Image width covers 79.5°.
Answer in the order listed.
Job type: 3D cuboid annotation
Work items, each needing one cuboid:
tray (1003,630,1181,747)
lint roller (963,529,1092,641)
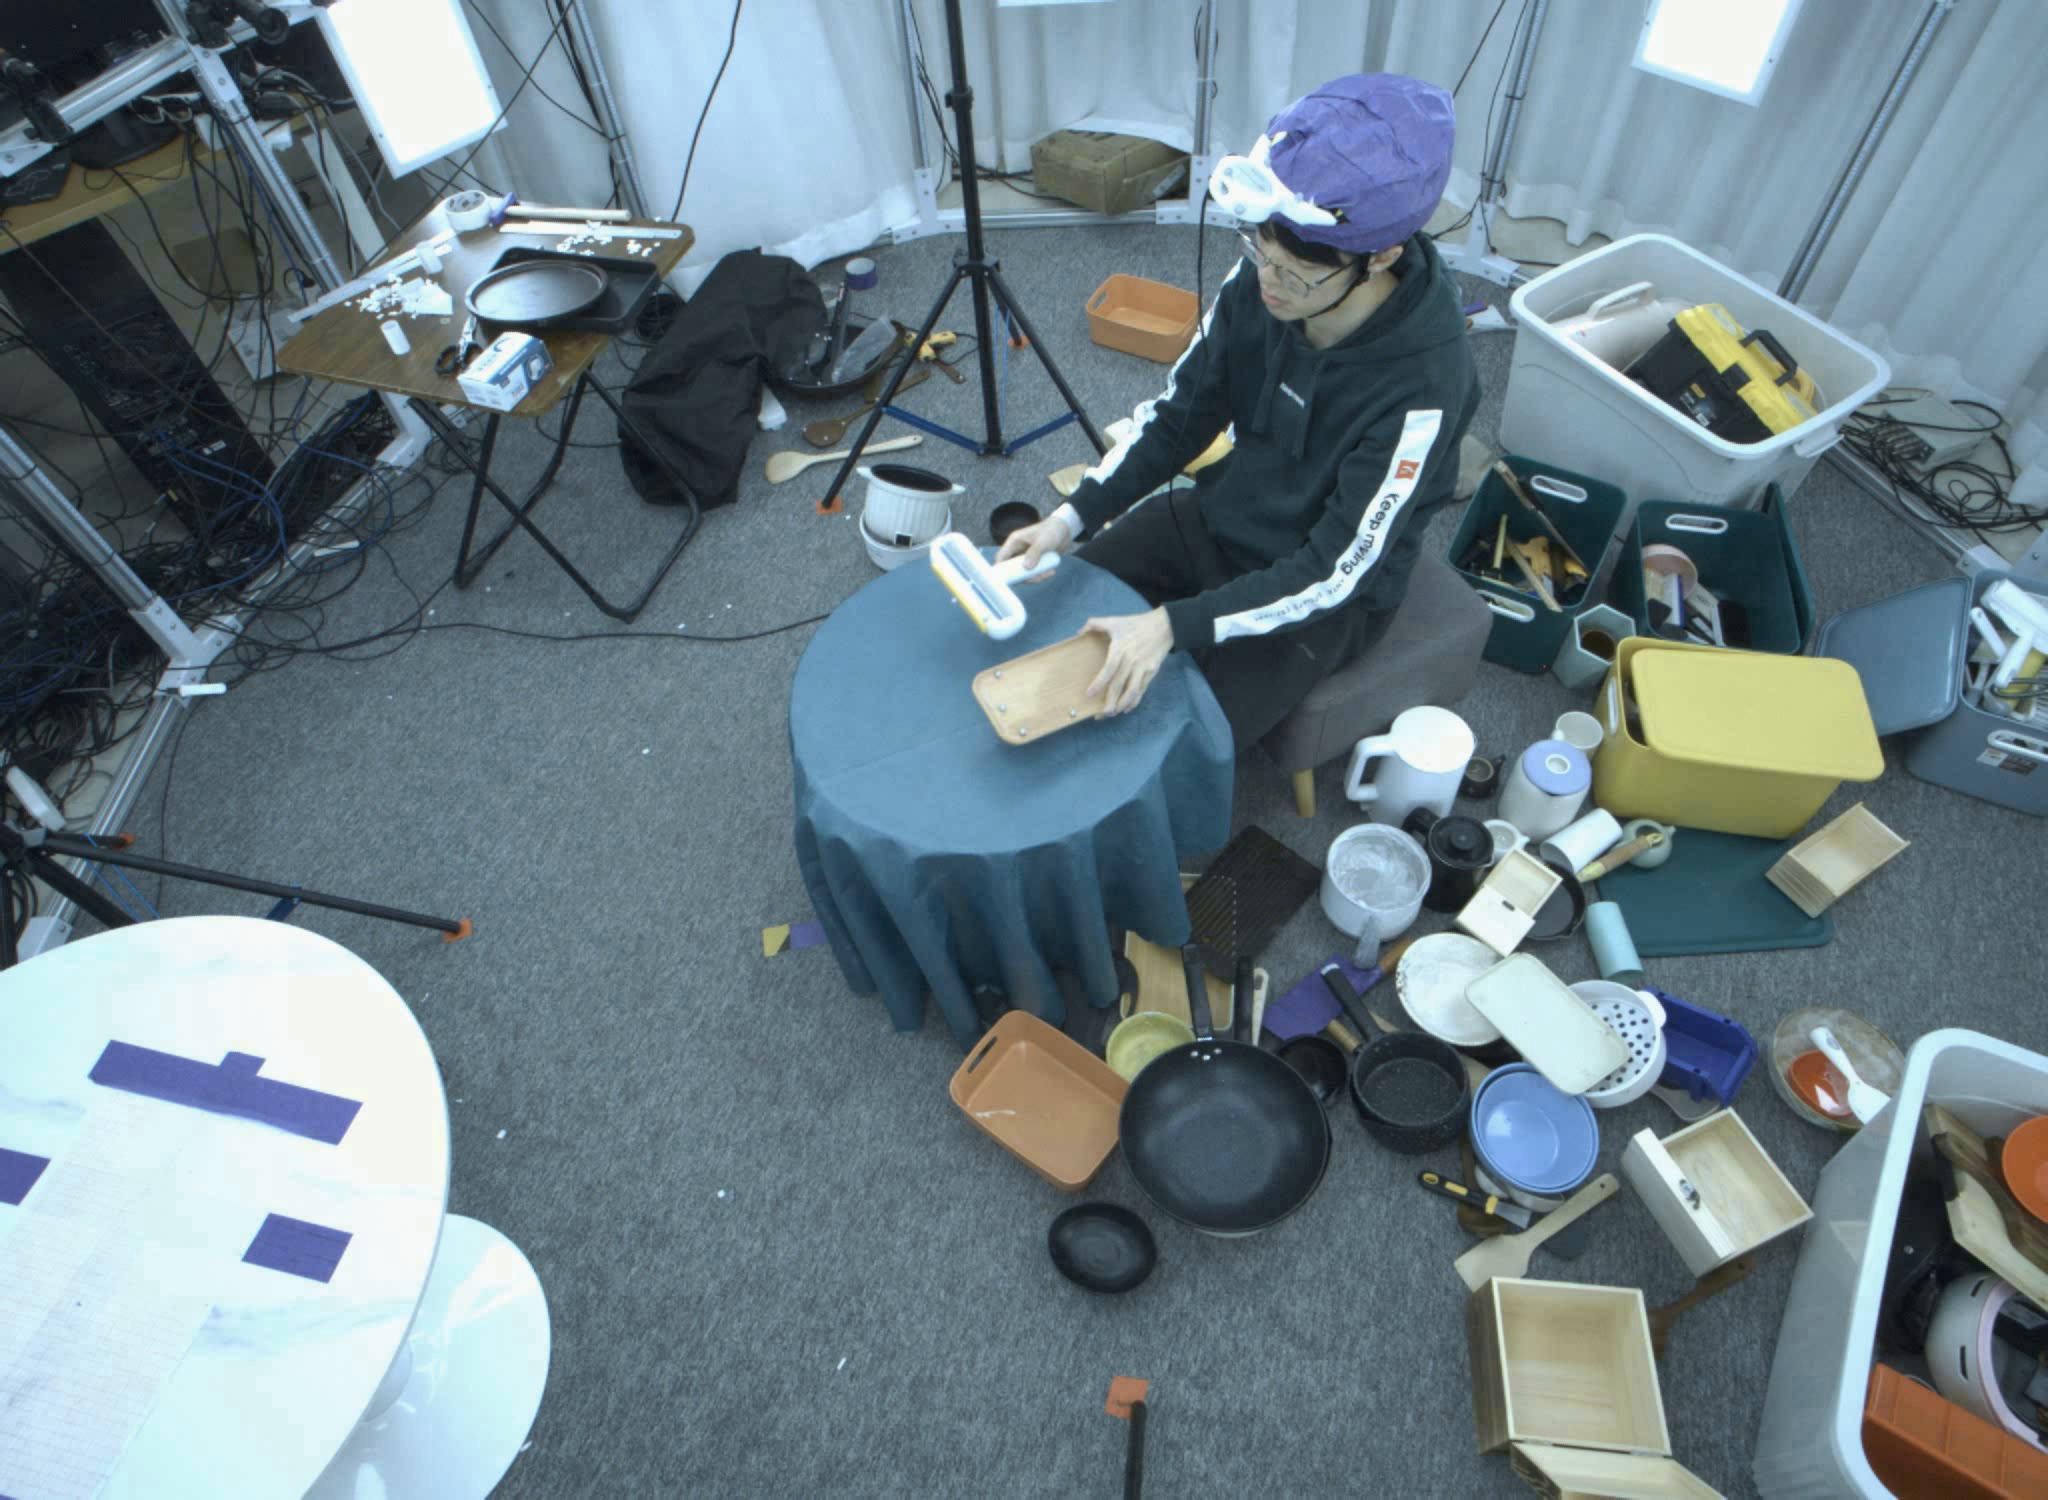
[{"bbox_3d":[0.098,-0.089,1.761,0.254,0.023,0.129,-20,72,-22],"label":"tray"},{"bbox_3d":[0.023,-0.257,1.855,0.195,0.074,0.190,-18,63,-29],"label":"lint roller"}]
